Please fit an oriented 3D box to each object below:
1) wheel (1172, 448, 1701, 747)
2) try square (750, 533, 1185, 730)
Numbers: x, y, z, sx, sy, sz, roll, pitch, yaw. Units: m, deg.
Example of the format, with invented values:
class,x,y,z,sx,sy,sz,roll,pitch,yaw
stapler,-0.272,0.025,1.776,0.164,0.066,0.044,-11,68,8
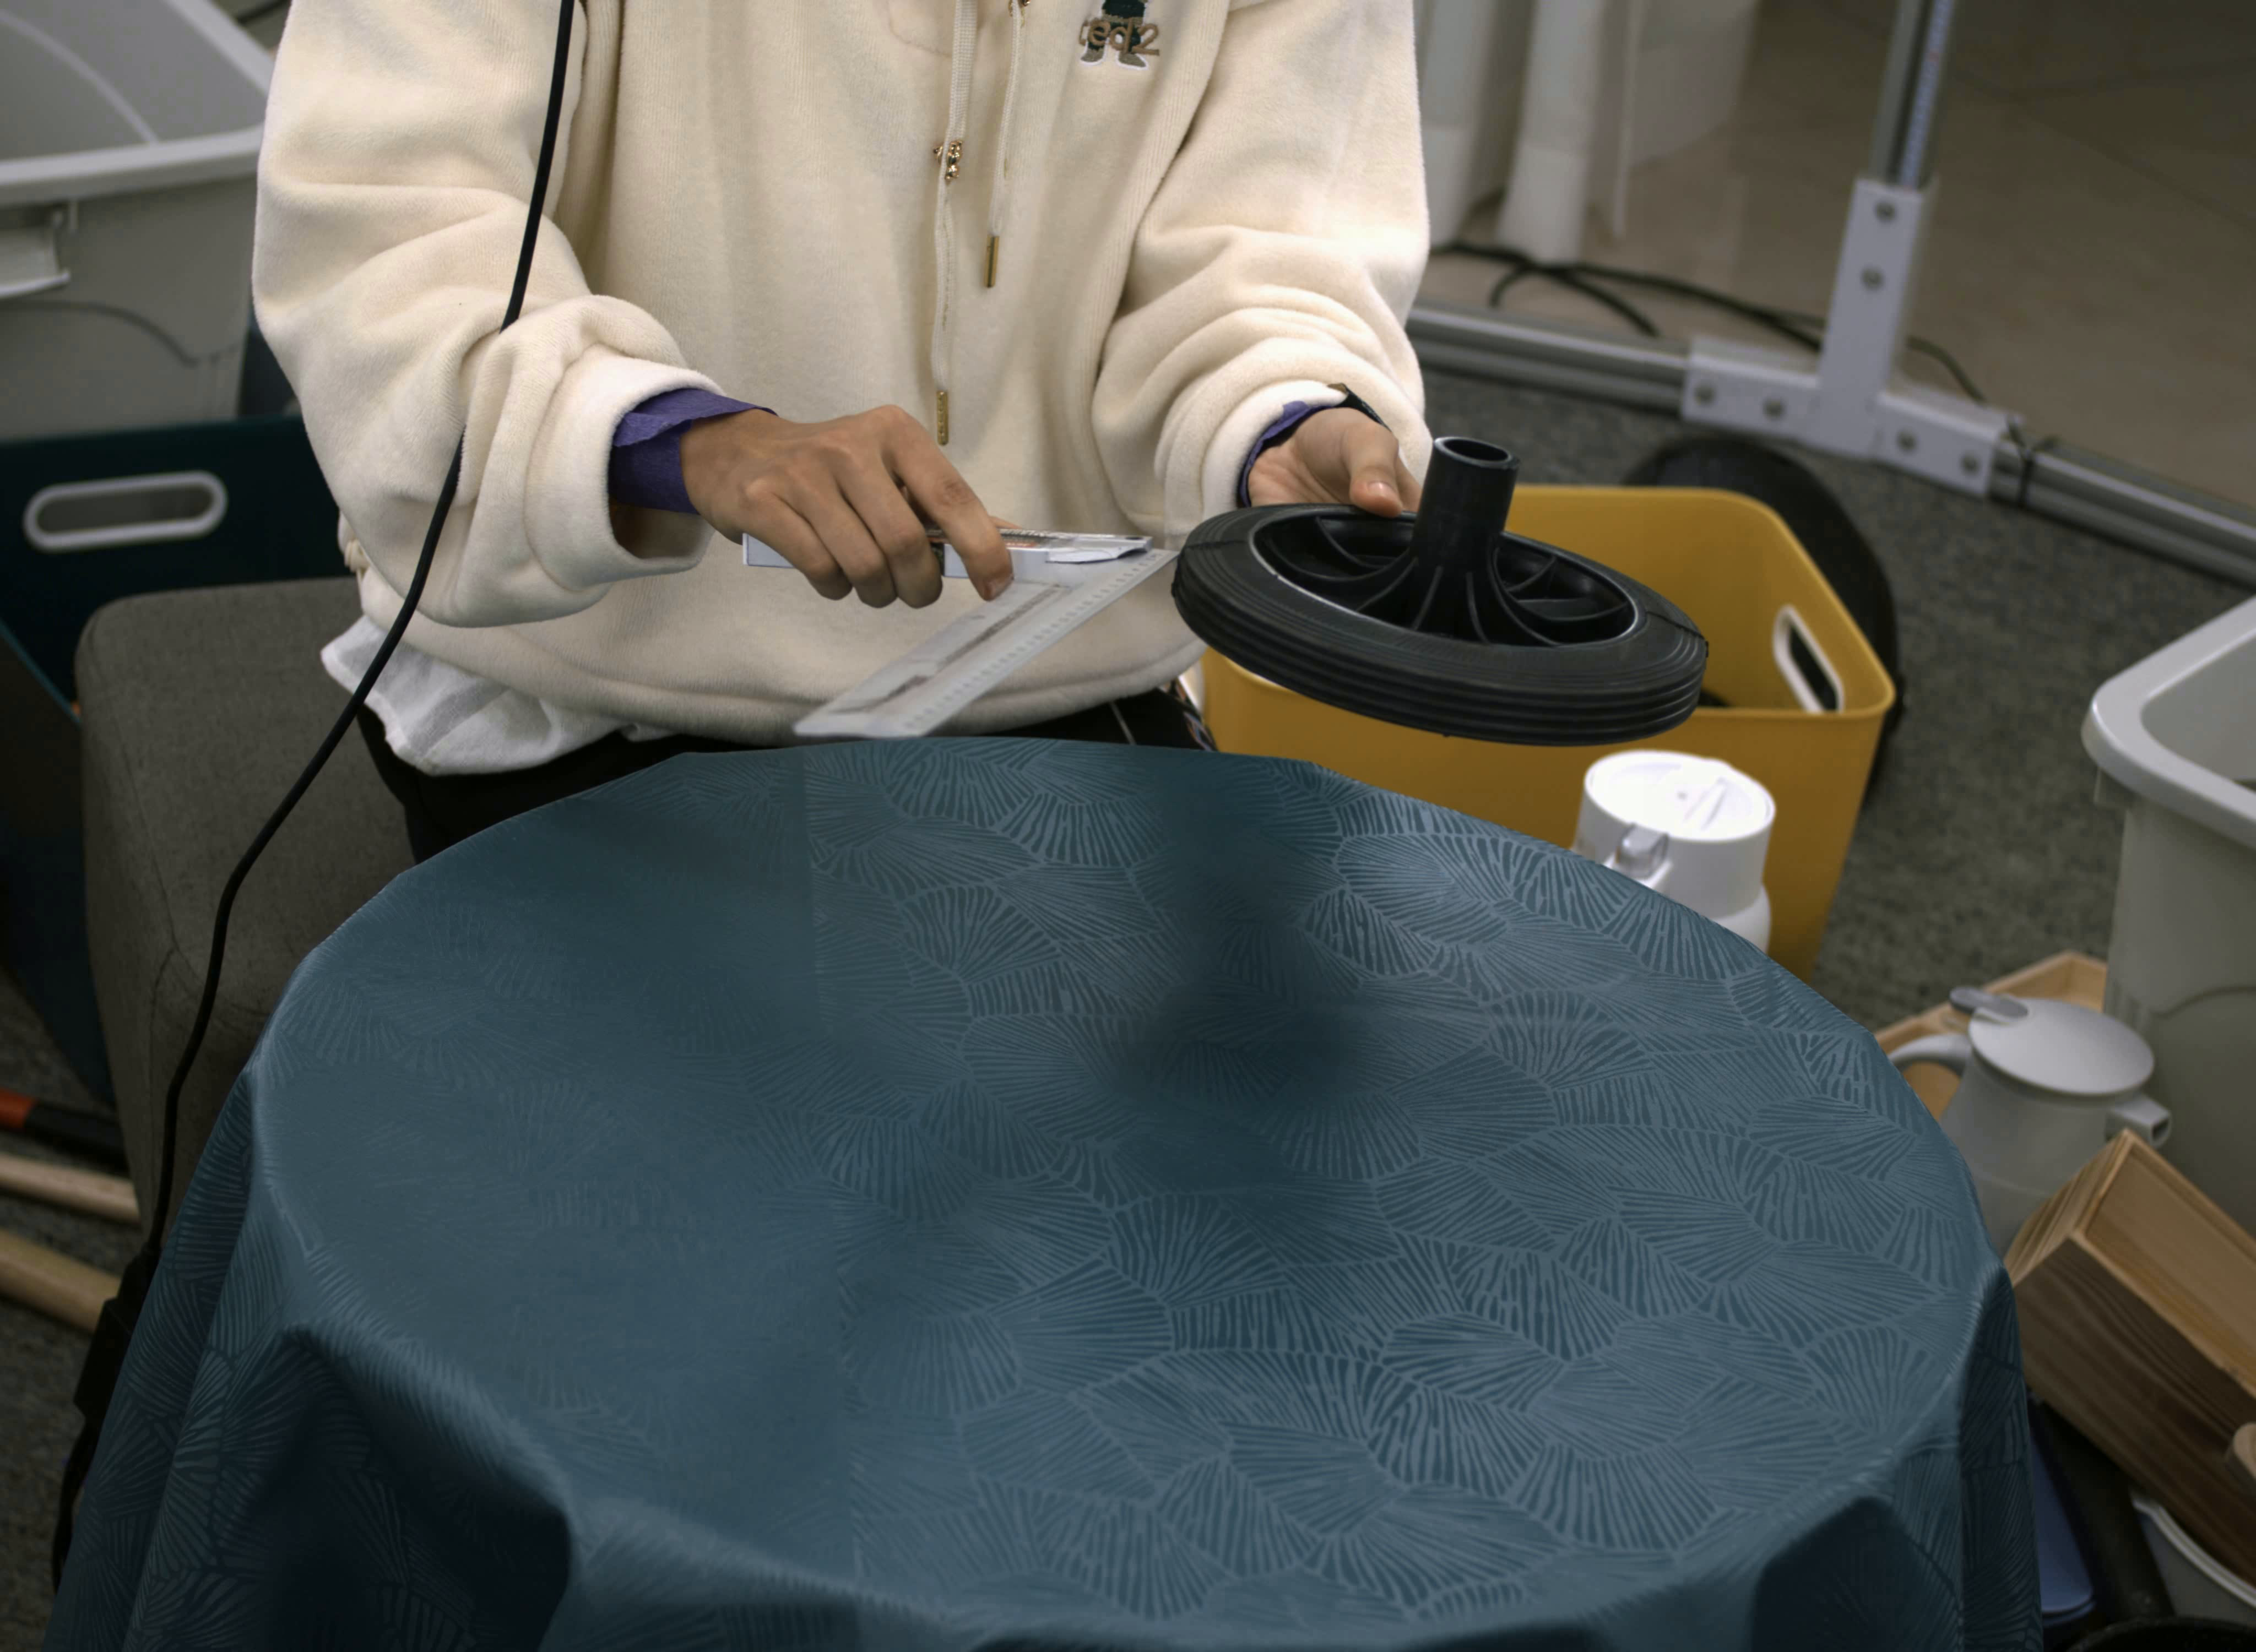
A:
class,x,y,z,sx,sy,sz,roll,pitch,yaw
wheel,0.112,-0.090,1.853,0.188,0.079,0.189,23,22,30
try square,-0.093,-0.064,1.740,0.152,0.016,0.312,0,12,16
